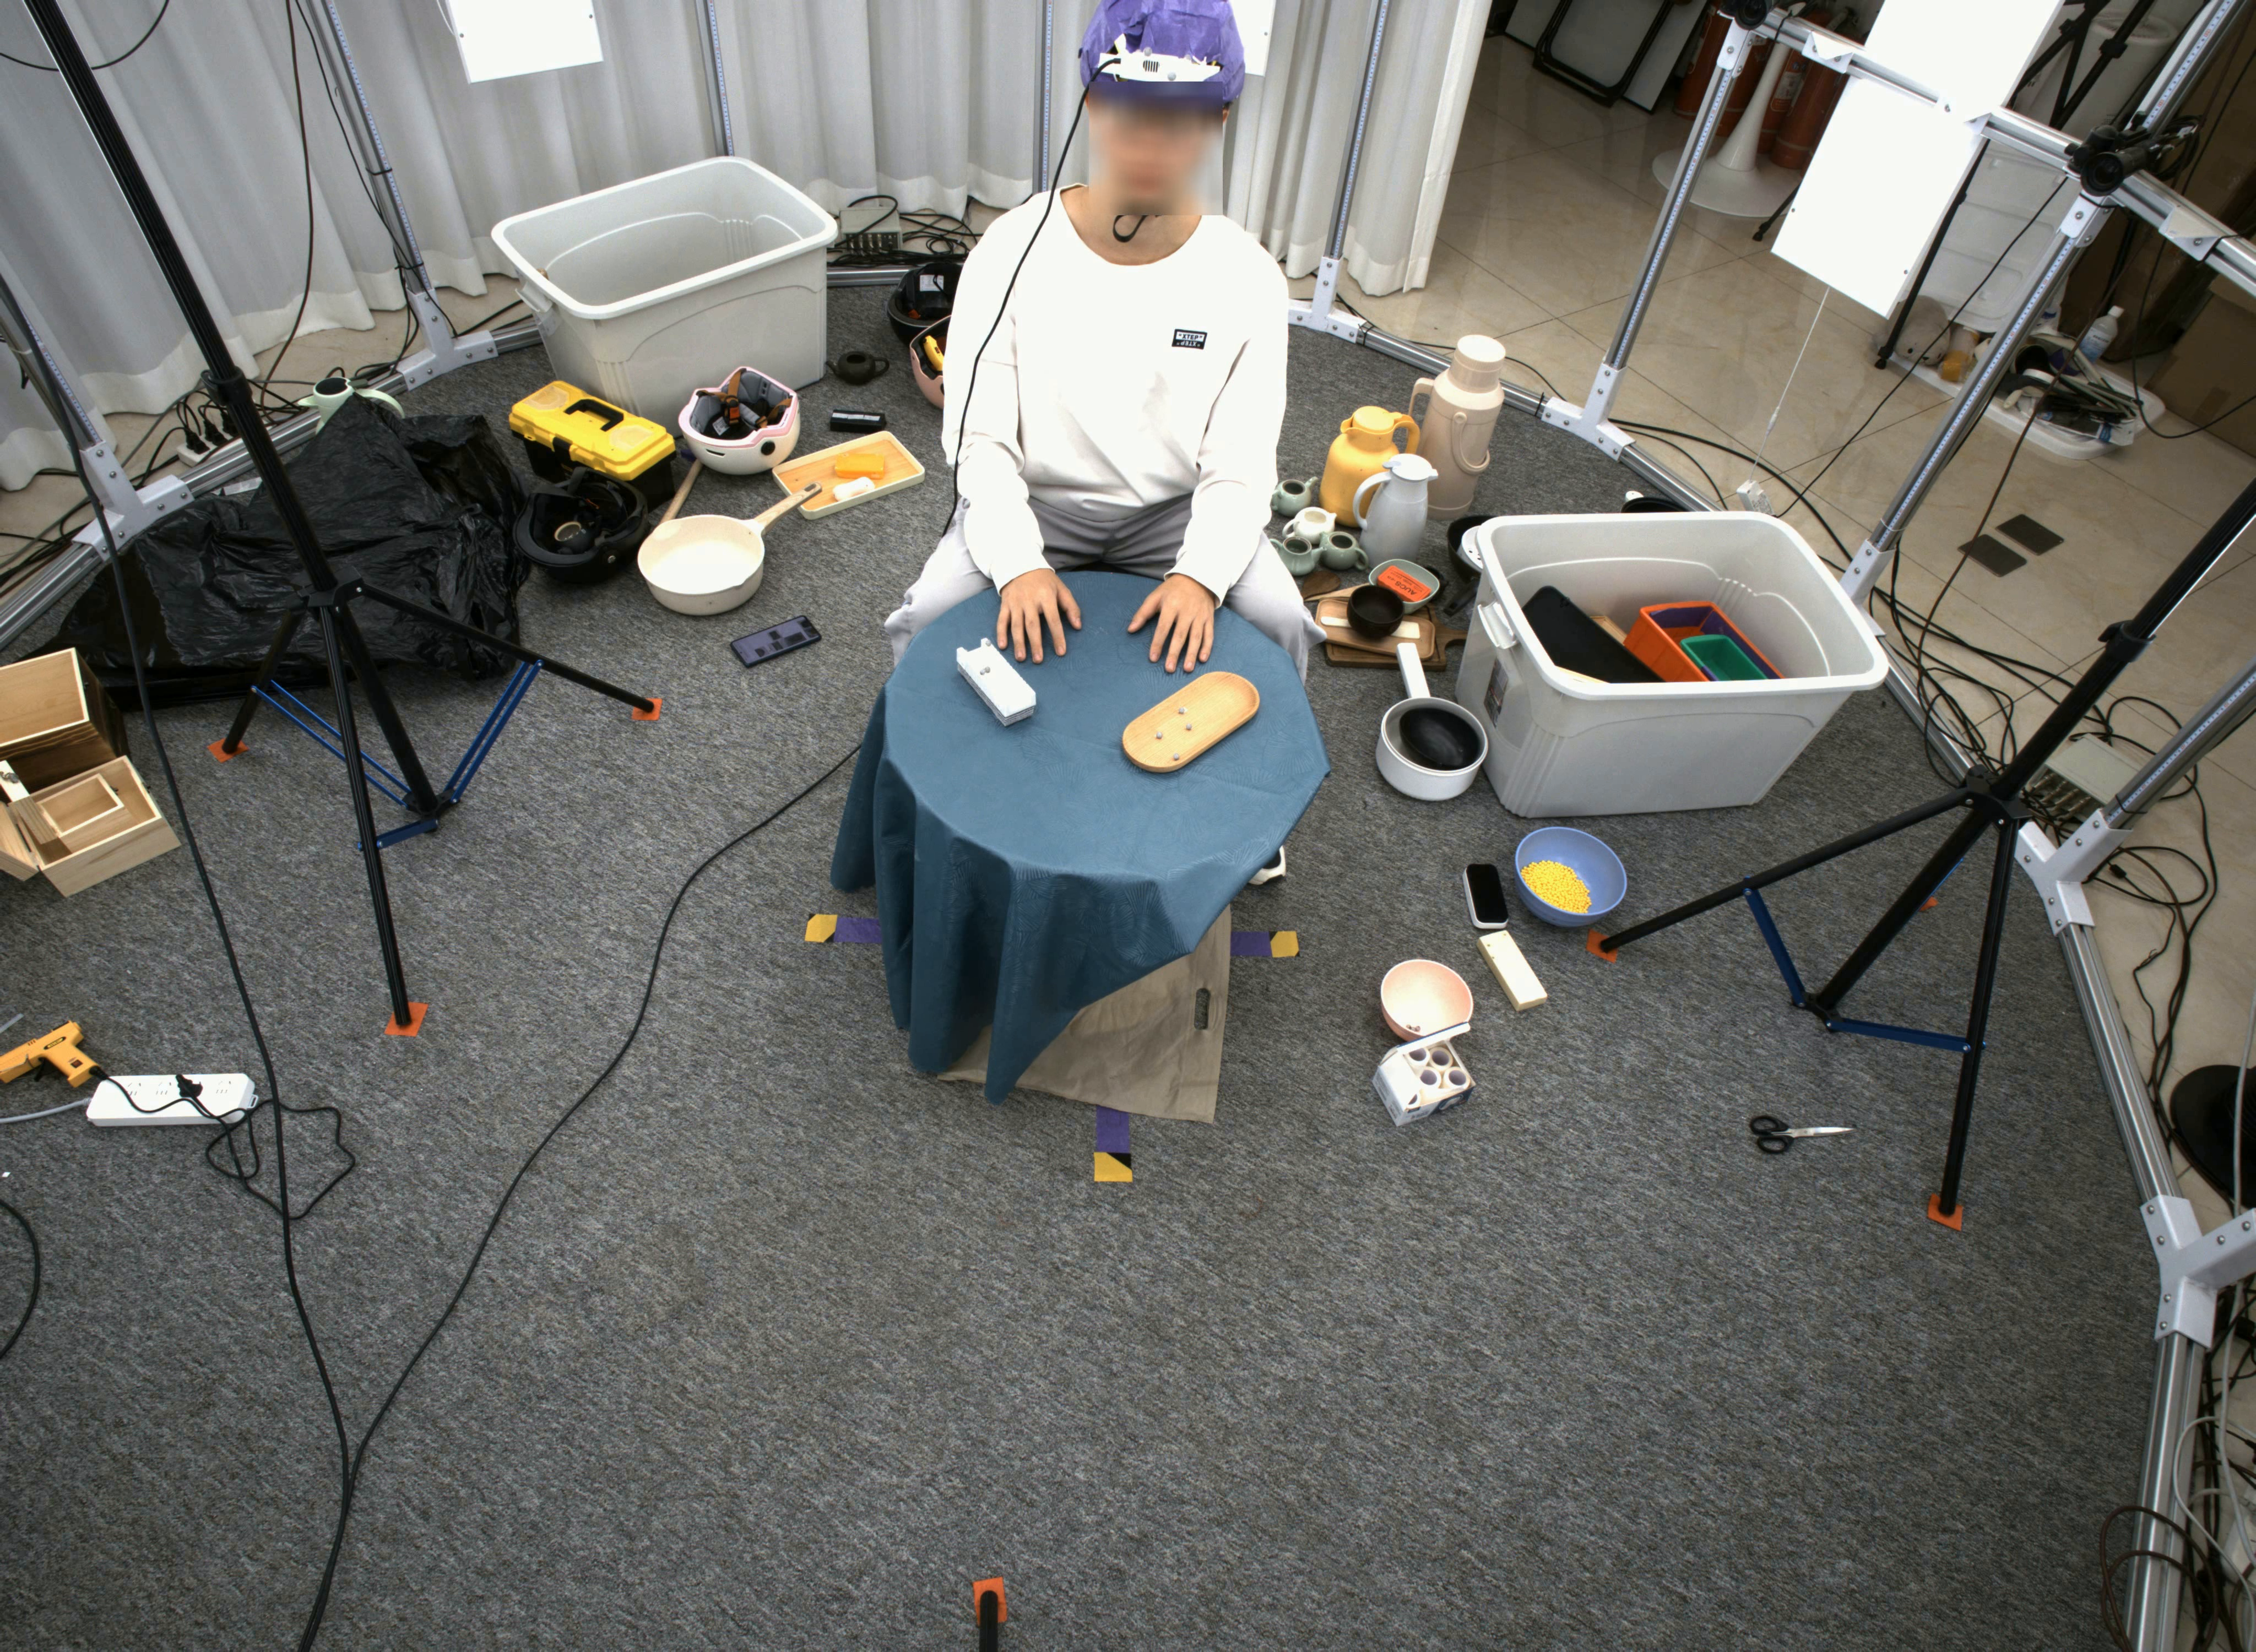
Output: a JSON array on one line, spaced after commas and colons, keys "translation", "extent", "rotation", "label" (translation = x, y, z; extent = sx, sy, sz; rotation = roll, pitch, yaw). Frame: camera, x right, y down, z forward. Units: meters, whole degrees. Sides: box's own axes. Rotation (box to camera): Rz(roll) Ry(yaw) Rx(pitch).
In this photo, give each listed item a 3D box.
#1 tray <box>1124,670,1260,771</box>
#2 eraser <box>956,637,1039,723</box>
[{"translation": [0.090, -0.149, 1.789], "extent": [0.103, 0.020, 0.233], "rotation": [39, 55, 25], "label": "tray"}, {"translation": [-0.183, -0.204, 1.797], "extent": [0.050, 0.045, 0.137], "rotation": [-25, 54, -30], "label": "eraser"}]
